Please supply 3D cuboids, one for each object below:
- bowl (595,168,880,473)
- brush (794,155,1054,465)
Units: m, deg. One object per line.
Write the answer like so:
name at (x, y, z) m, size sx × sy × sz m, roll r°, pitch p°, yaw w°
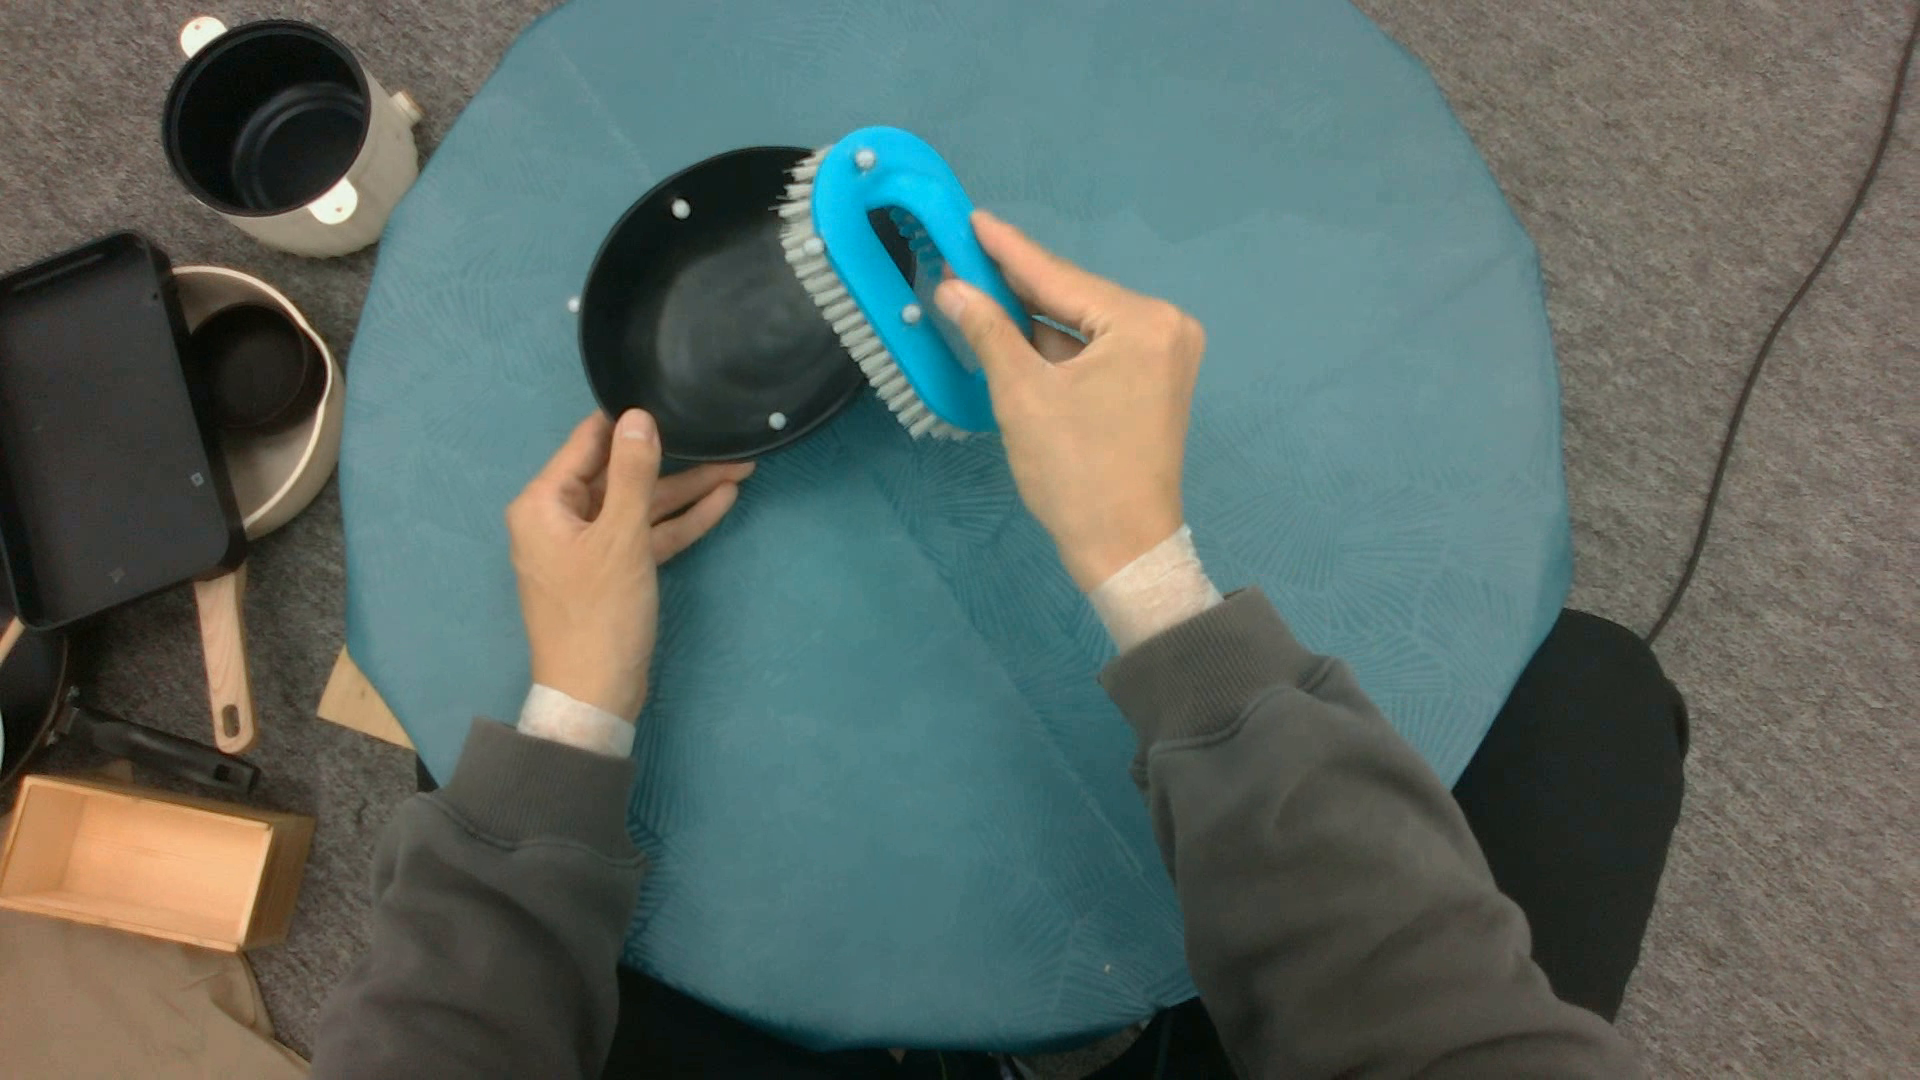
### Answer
bowl at (-0.092, -0.103, 0.671) m, size 0.170 × 0.066 × 0.137 m, roll -44°, pitch 82°, yaw -7°
brush at (-0.005, -0.103, 0.591) m, size 0.085 × 0.063 × 0.141 m, roll -40°, pitch 106°, yaw -31°
